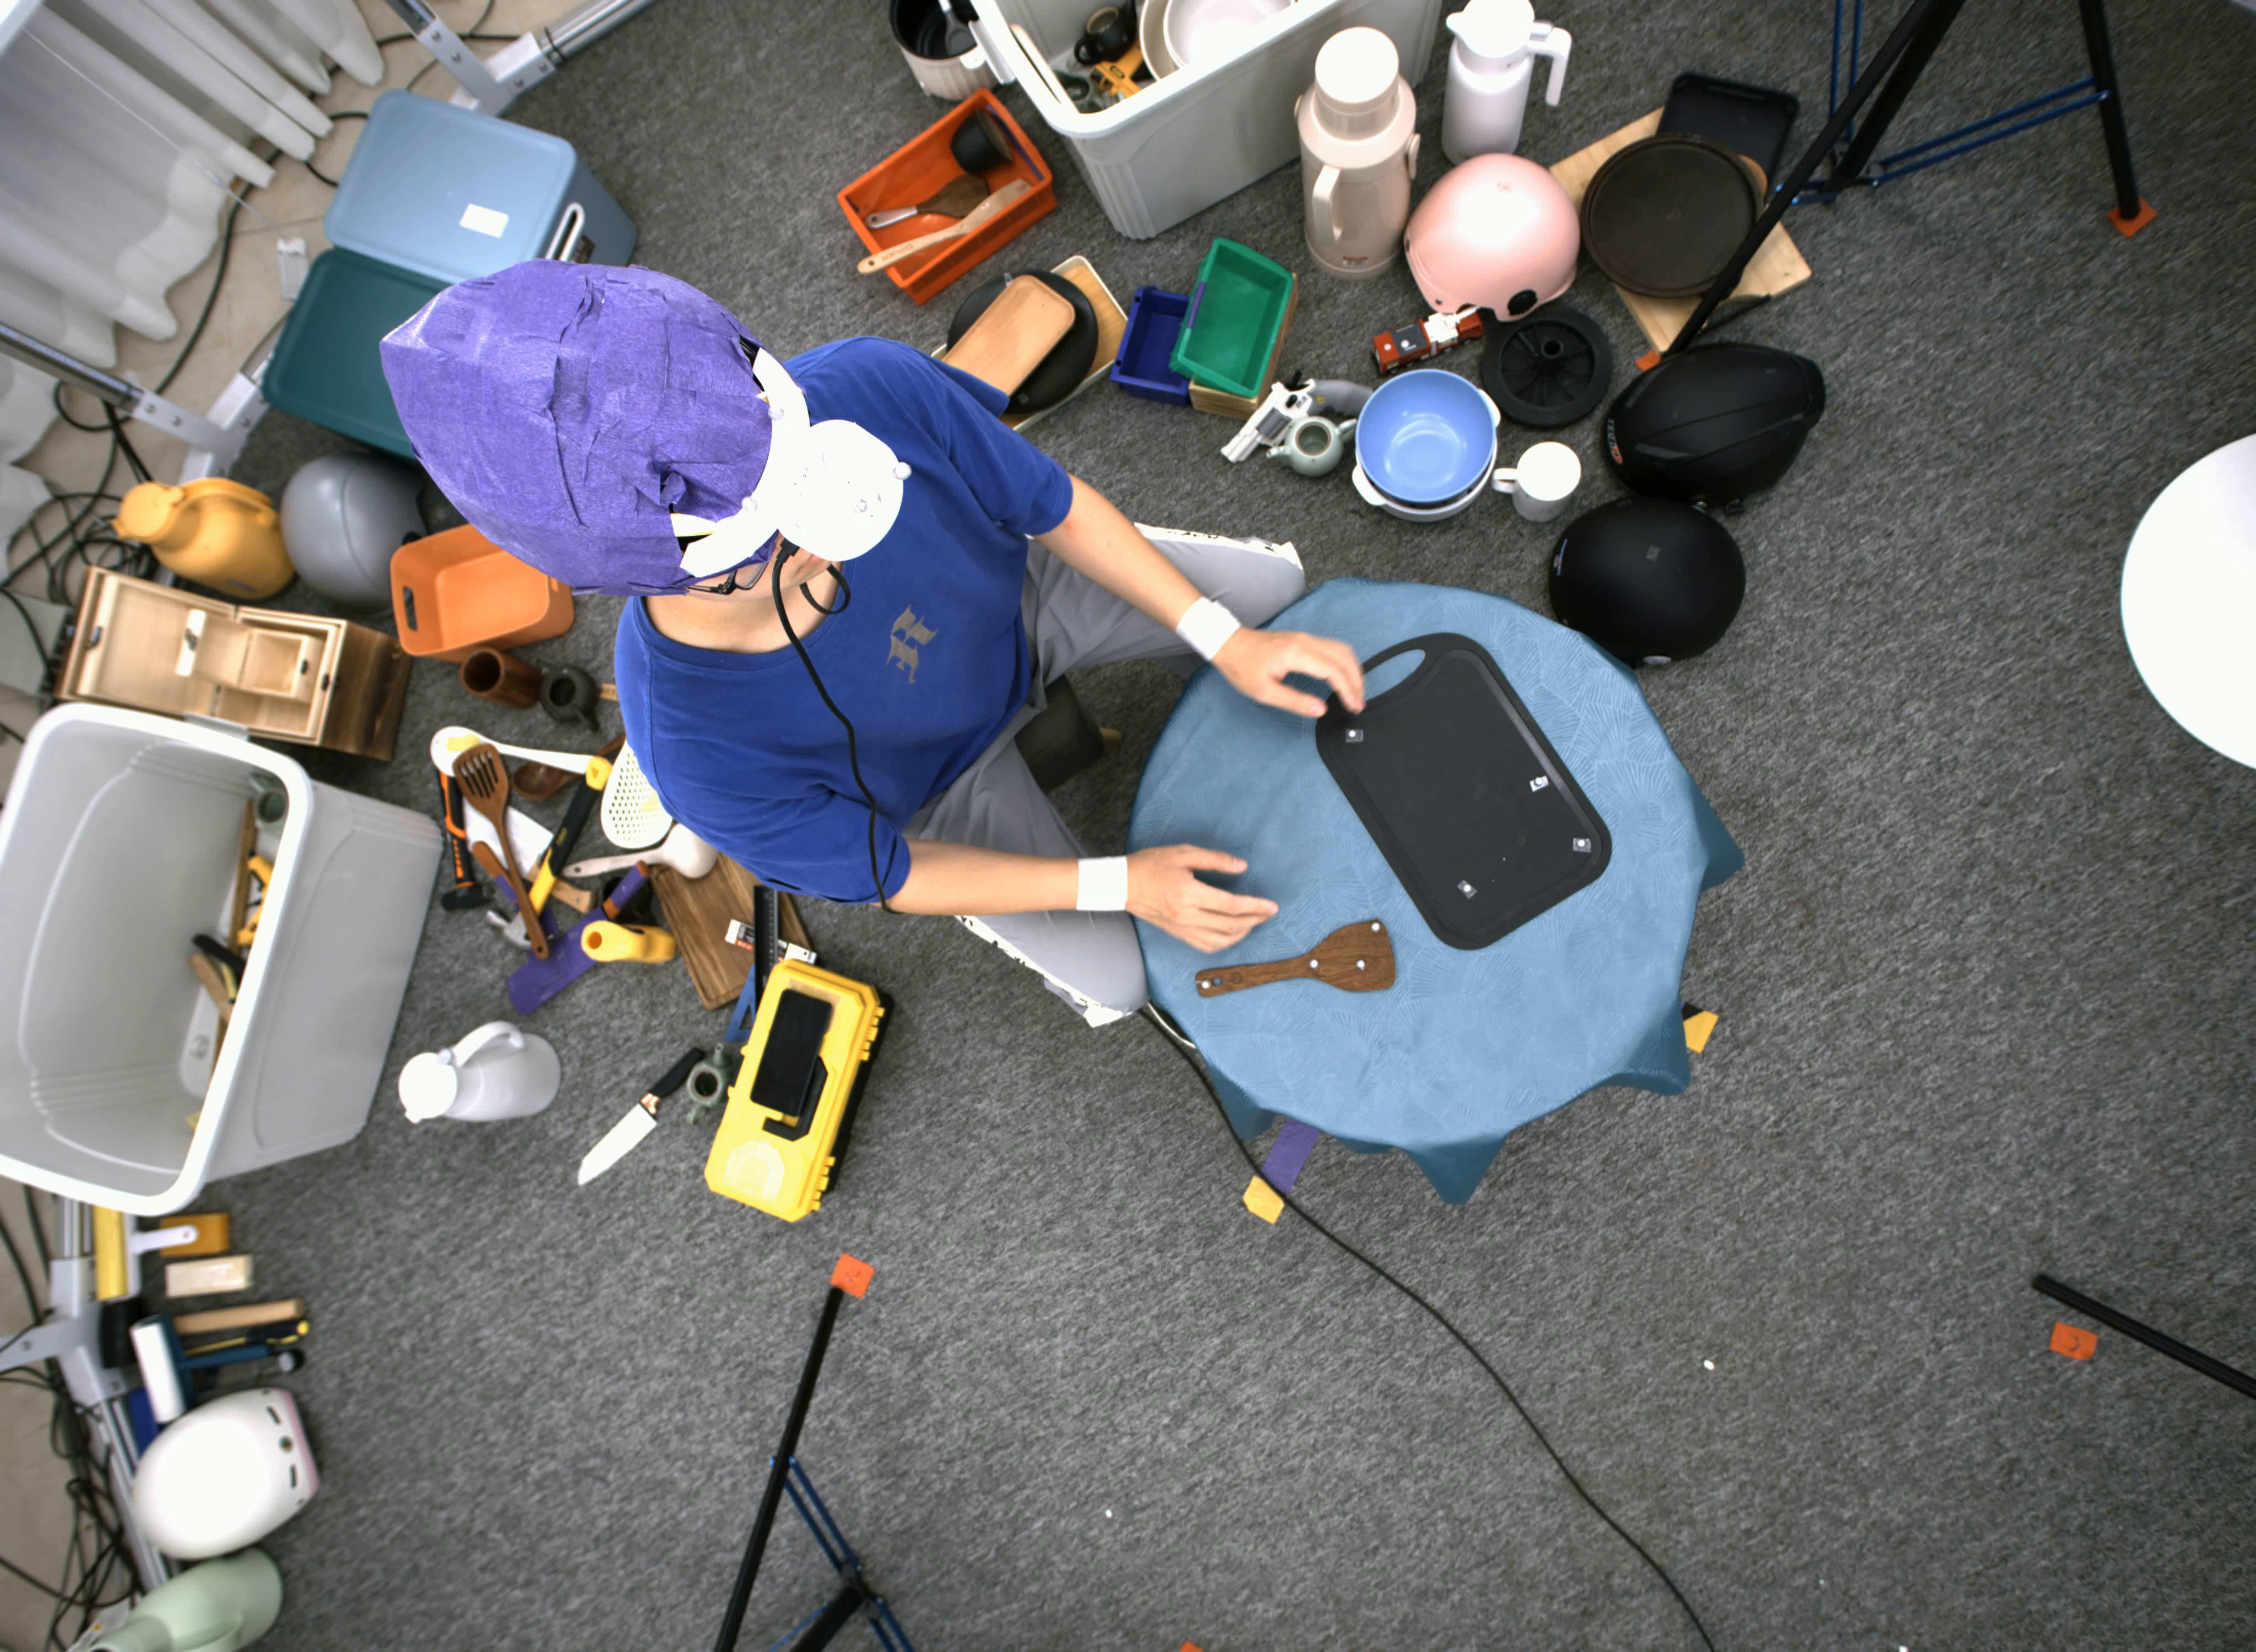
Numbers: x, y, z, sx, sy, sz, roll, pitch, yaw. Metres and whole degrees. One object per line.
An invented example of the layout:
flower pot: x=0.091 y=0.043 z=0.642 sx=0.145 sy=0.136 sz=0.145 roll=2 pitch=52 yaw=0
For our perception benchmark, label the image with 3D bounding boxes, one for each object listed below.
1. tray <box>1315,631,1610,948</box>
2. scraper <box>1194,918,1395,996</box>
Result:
tray: x=0.344 y=-0.049 z=1.447 sx=0.212 sy=0.010 sz=0.323 roll=-32 pitch=82 yaw=7
scraper: x=0.174 y=0.150 z=1.468 sx=0.212 sy=0.011 sz=0.075 roll=-11 pitch=85 yaw=11
